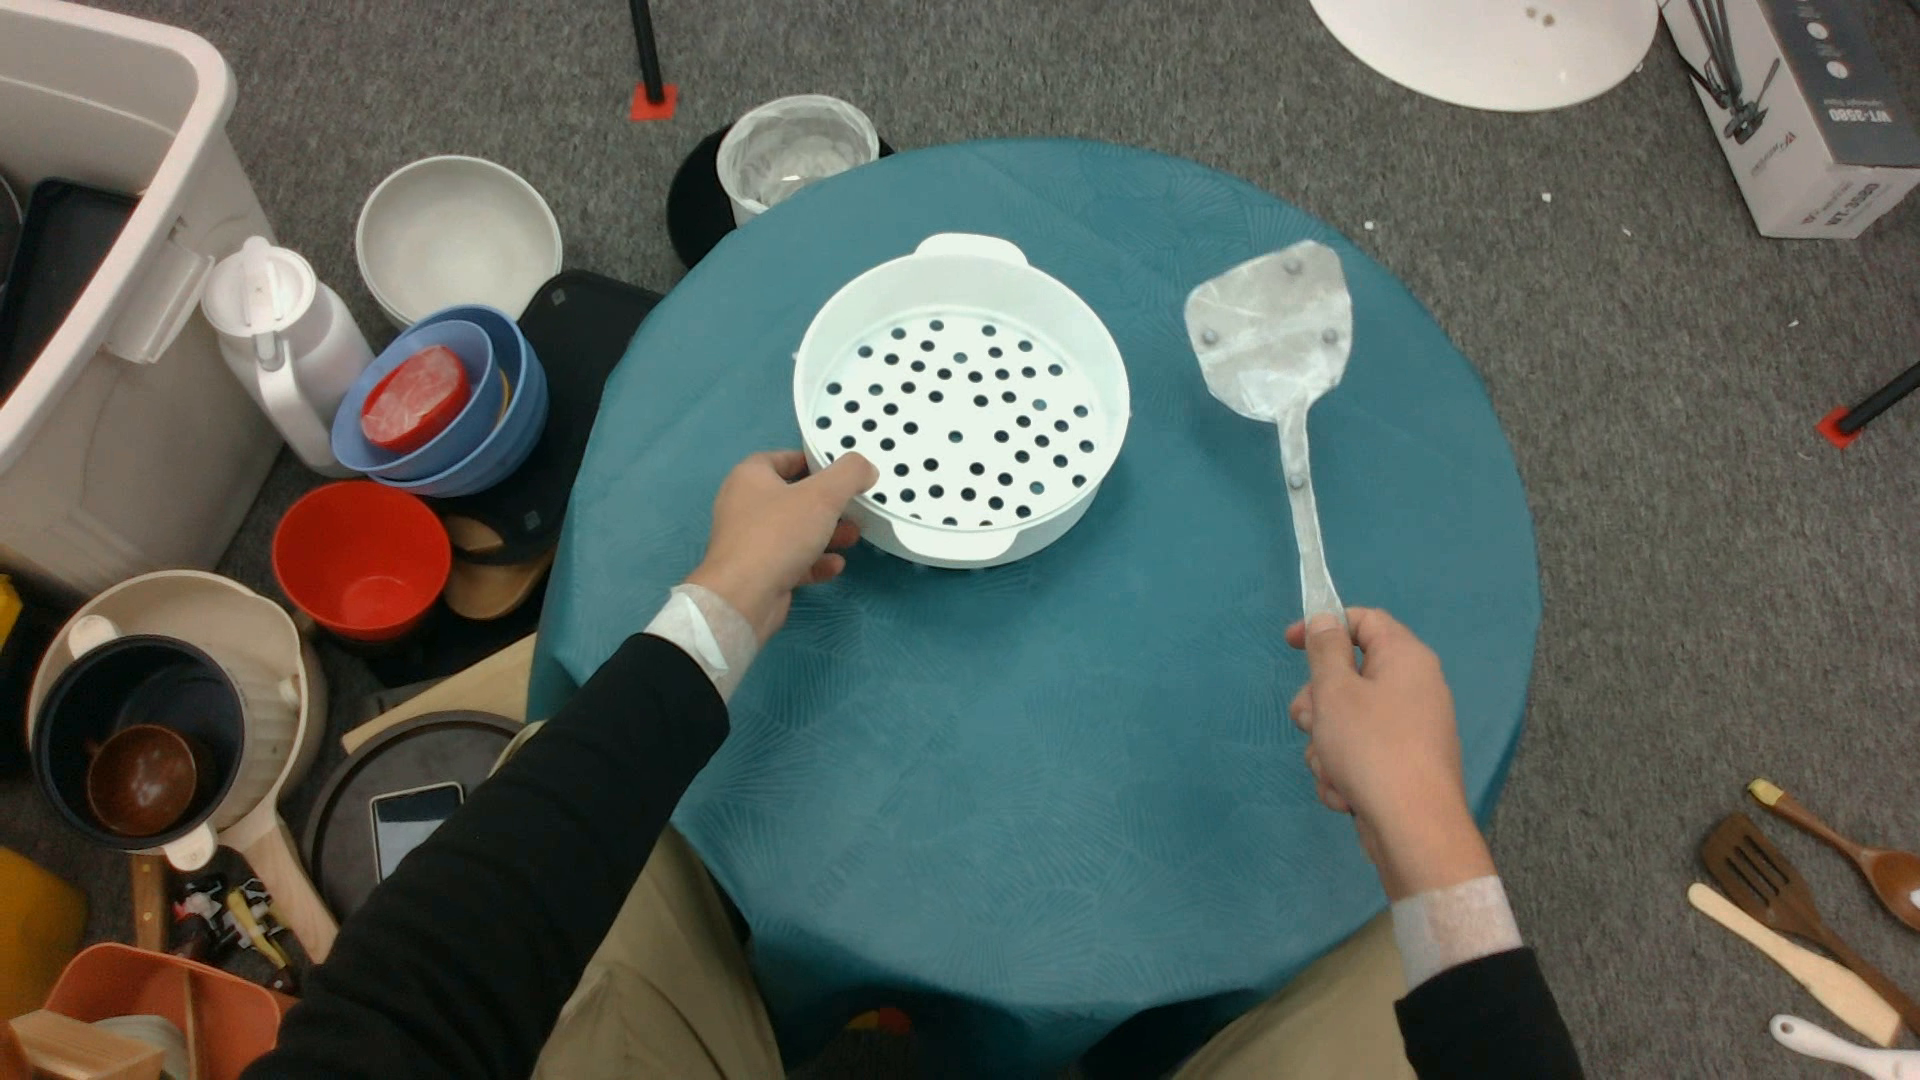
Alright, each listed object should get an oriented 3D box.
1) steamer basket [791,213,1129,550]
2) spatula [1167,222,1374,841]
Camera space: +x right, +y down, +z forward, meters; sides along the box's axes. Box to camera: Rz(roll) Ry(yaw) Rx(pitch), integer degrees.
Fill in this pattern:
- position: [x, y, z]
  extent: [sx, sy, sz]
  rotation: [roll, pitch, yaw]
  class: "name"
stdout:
- position: [-0.001, -0.091, 0.843]
  extent: [0.202, 0.069, 0.231]
  rotation: [5, 64, -2]
  class: "steamer basket"
- position: [0.181, -0.020, 0.748]
  extent: [0.098, 0.045, 0.366]
  rotation: [-19, 54, 24]
  class: "spatula"
